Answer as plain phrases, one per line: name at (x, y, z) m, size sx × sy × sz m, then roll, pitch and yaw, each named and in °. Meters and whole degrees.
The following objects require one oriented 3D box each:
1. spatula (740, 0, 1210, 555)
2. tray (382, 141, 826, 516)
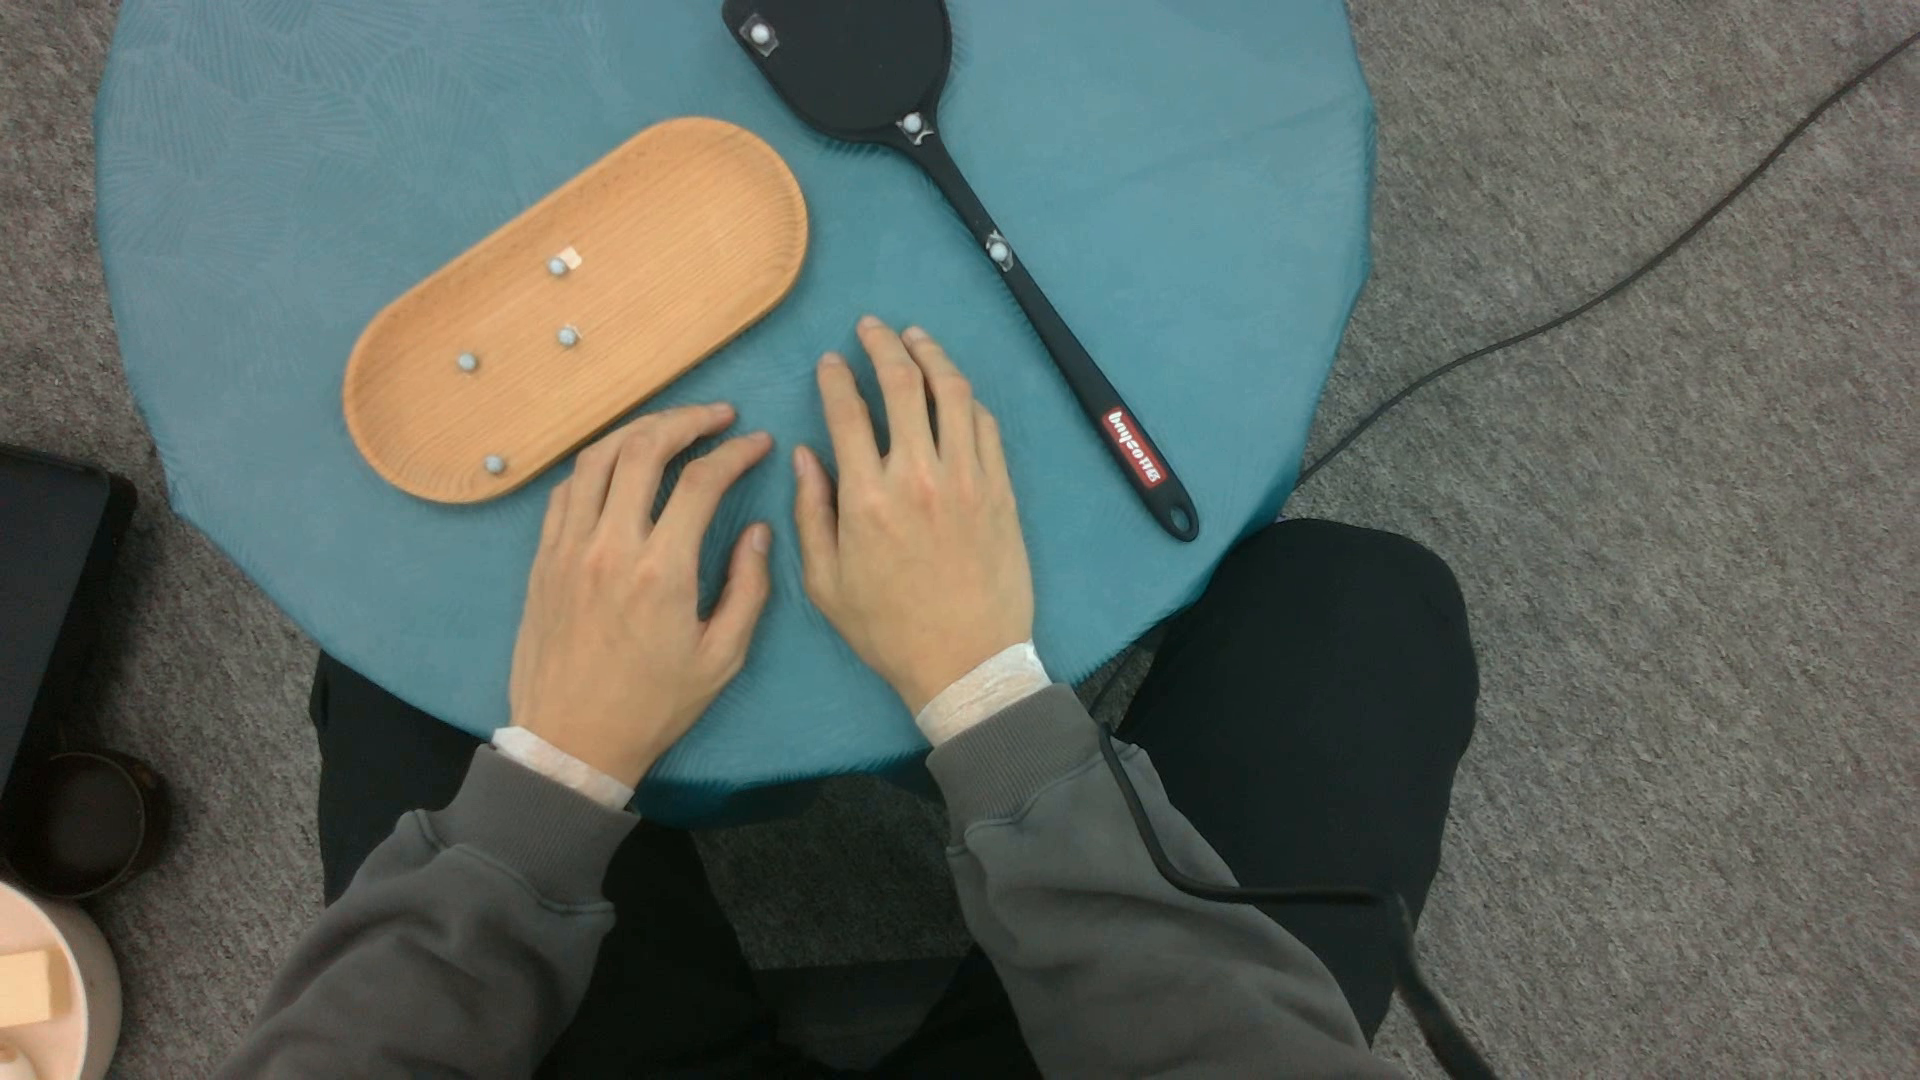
spatula at (0.023, -0.129, 0.649) m, size 0.100 × 0.040 × 0.326 m, roll -34°, pitch 85°, yaw -3°
tray at (-0.166, -0.100, 0.652) m, size 0.231 × 0.020 × 0.102 m, roll -37°, pitch 86°, yaw -6°
